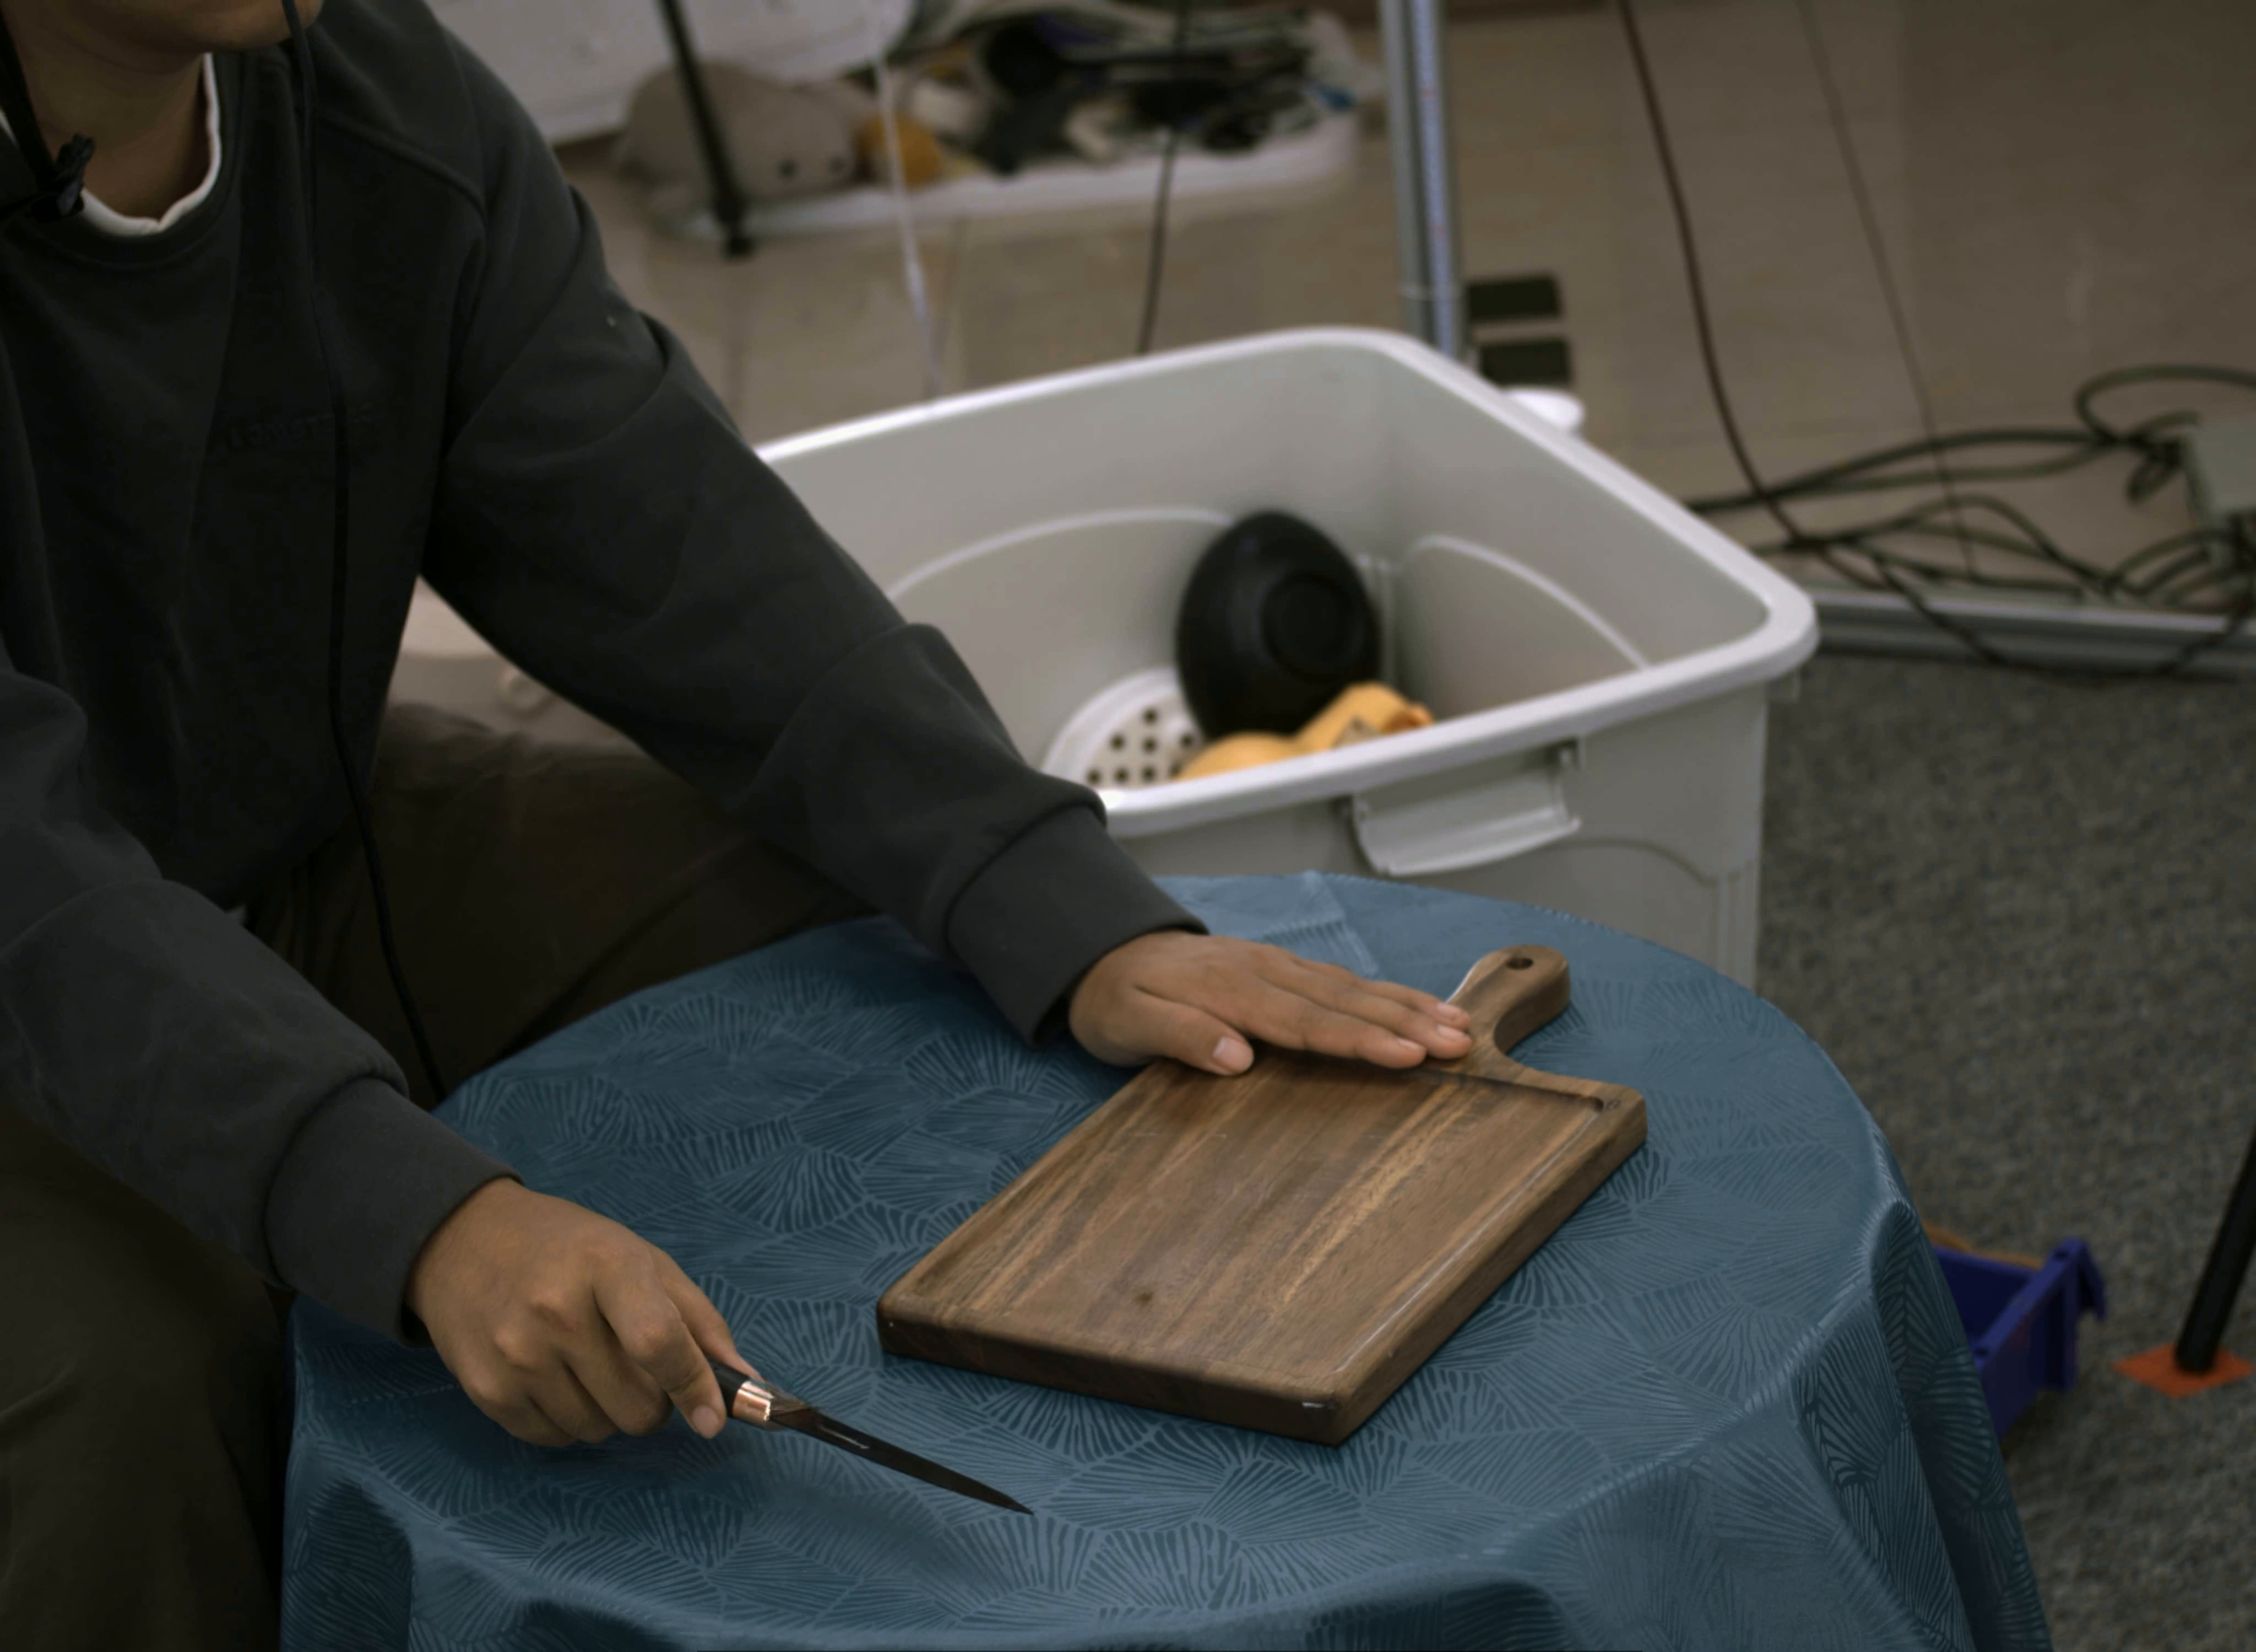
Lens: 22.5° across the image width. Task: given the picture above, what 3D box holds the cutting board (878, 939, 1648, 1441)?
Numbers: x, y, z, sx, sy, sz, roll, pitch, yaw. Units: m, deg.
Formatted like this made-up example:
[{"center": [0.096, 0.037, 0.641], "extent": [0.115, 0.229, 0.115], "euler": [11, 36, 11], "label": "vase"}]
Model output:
[{"center": [0.078, 0.124, 2.135], "extent": [0.200, 0.023, 0.348], "euler": [9, 29, 30], "label": "cutting board"}]

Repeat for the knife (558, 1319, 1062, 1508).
[{"center": [-0.113, 0.204, 1.966], "extent": [0.224, 0.017, 0.026], "euler": [15, 11, 37], "label": "knife"}]
